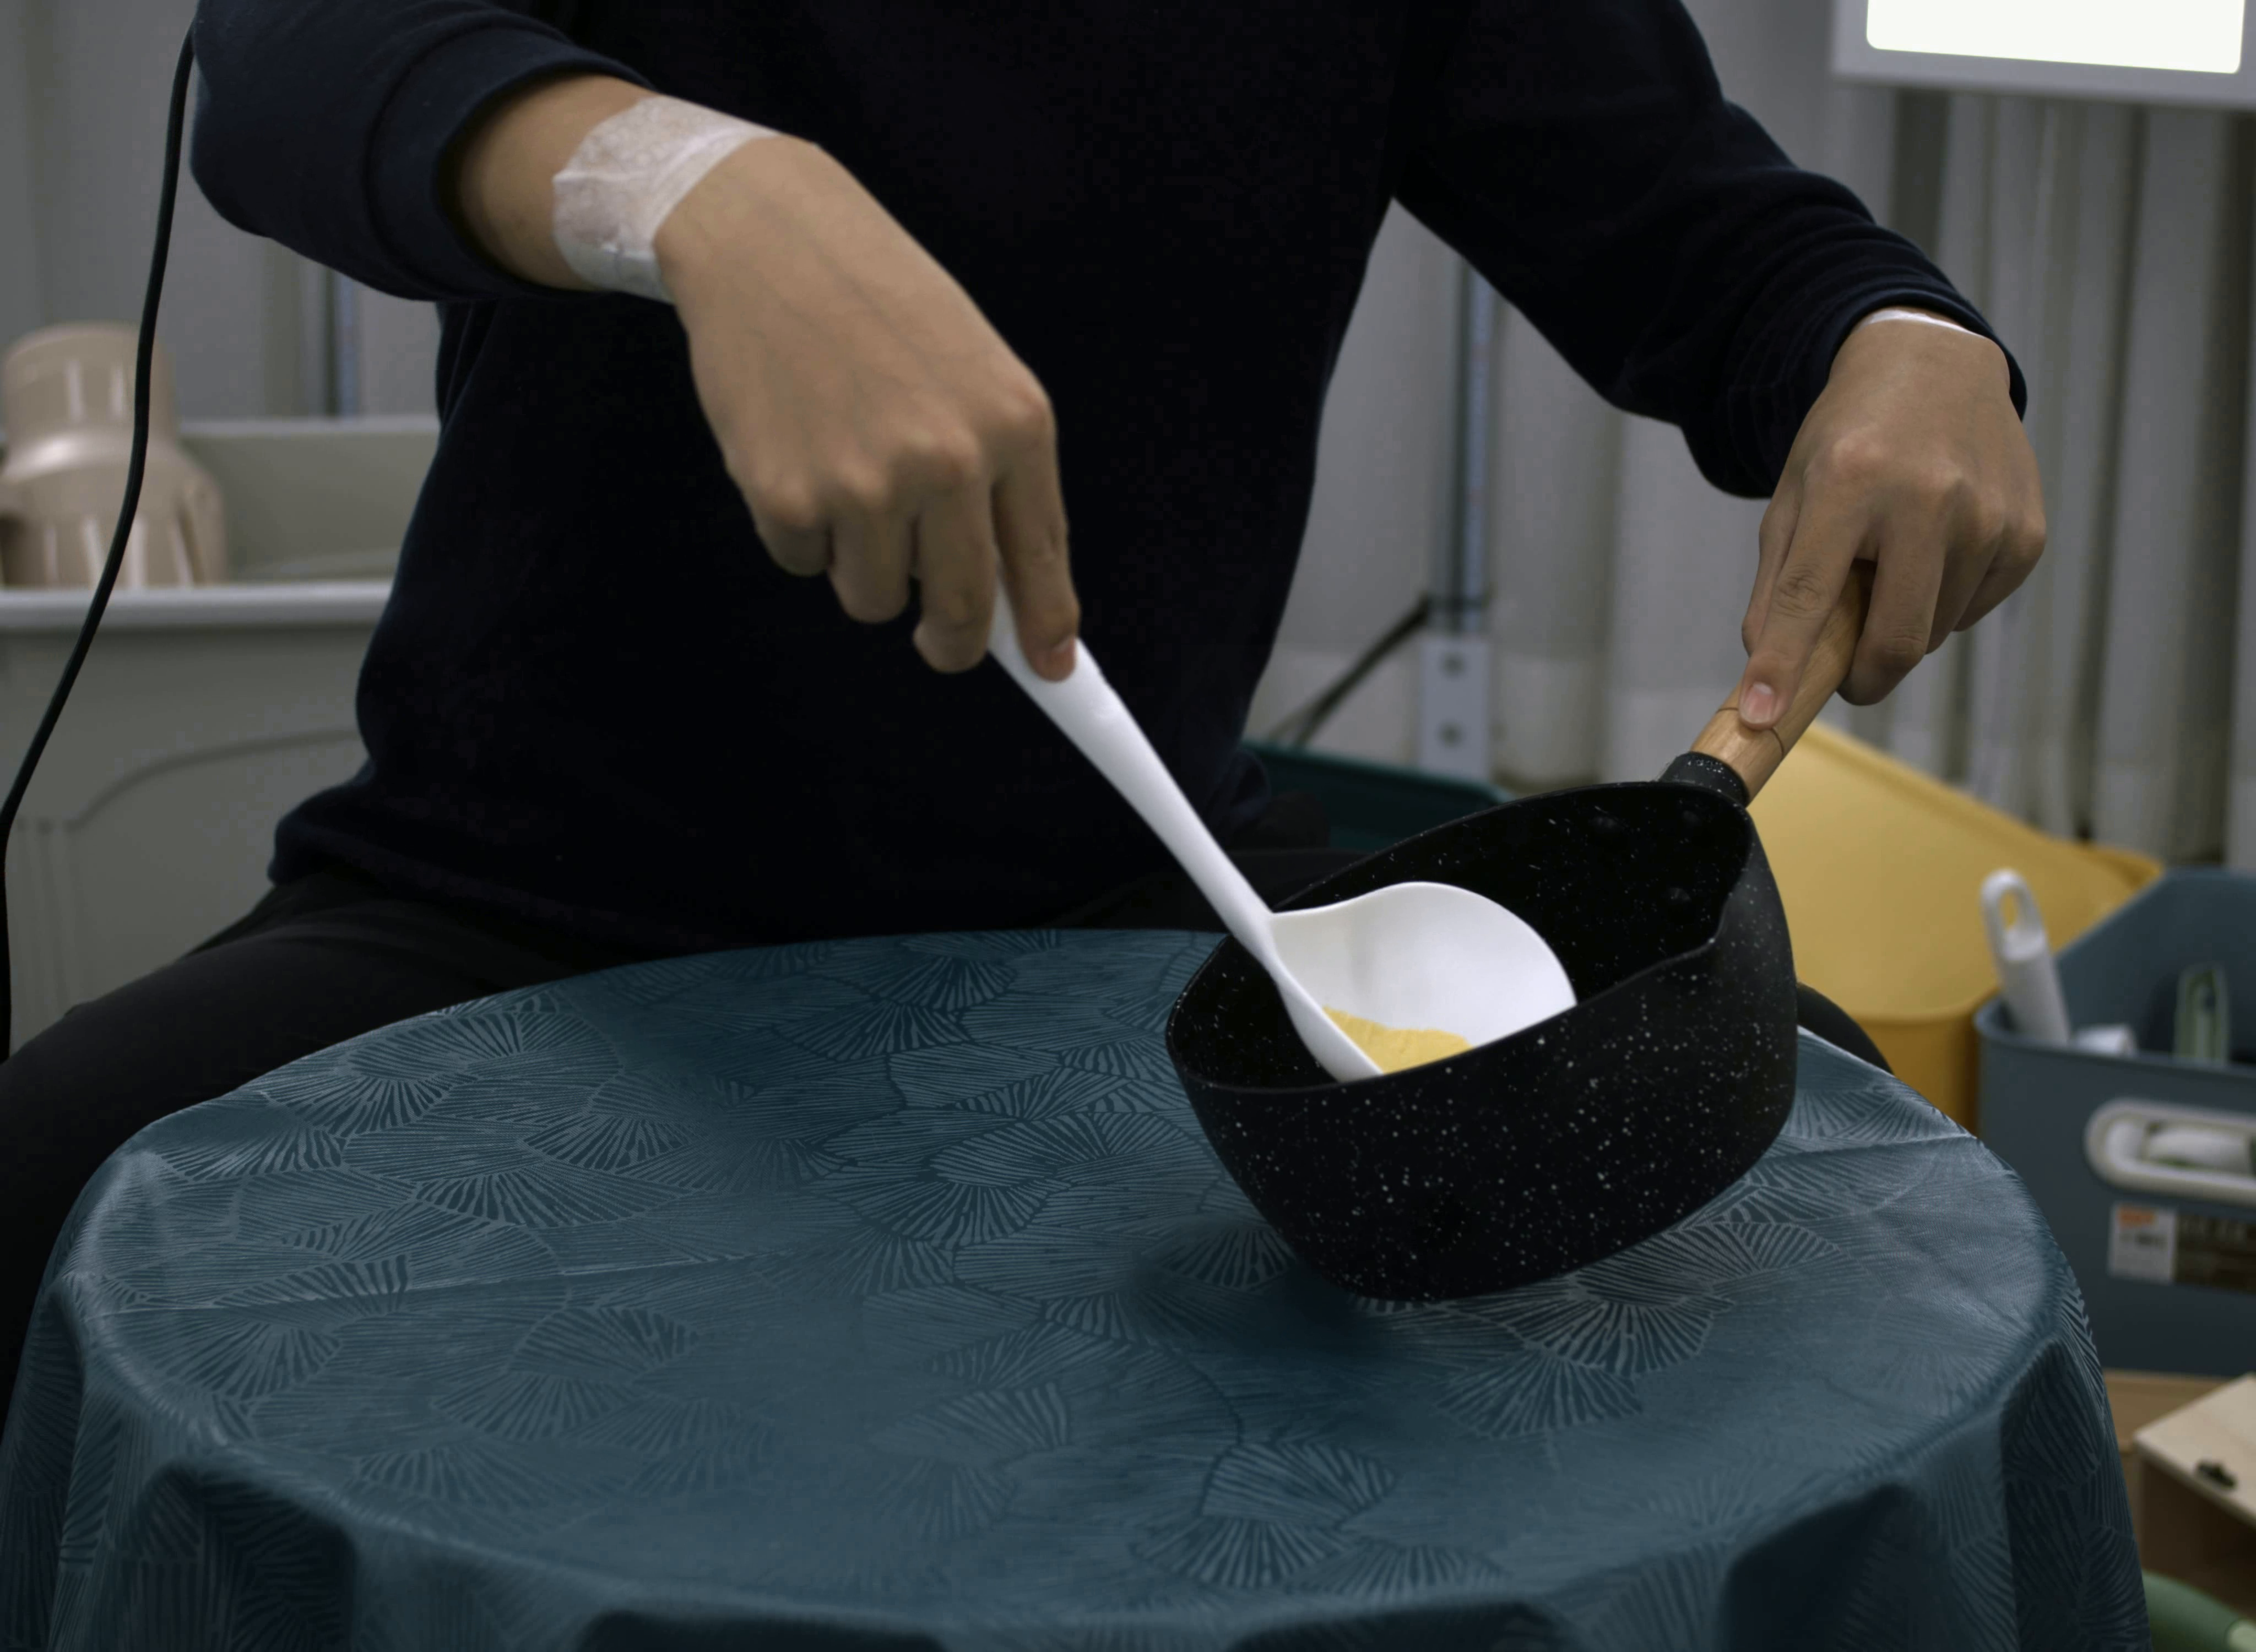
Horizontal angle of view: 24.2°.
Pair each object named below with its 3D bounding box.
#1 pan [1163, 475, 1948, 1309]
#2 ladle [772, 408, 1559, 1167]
[{"bbox_3d":[0.157,0.018,1.593,0.205,0.109,0.343,-2,28,47],"label":"pan"},{"bbox_3d":[0.018,-0.011,1.424,0.069,0.297,0.089,-15,43,34],"label":"ladle"}]
